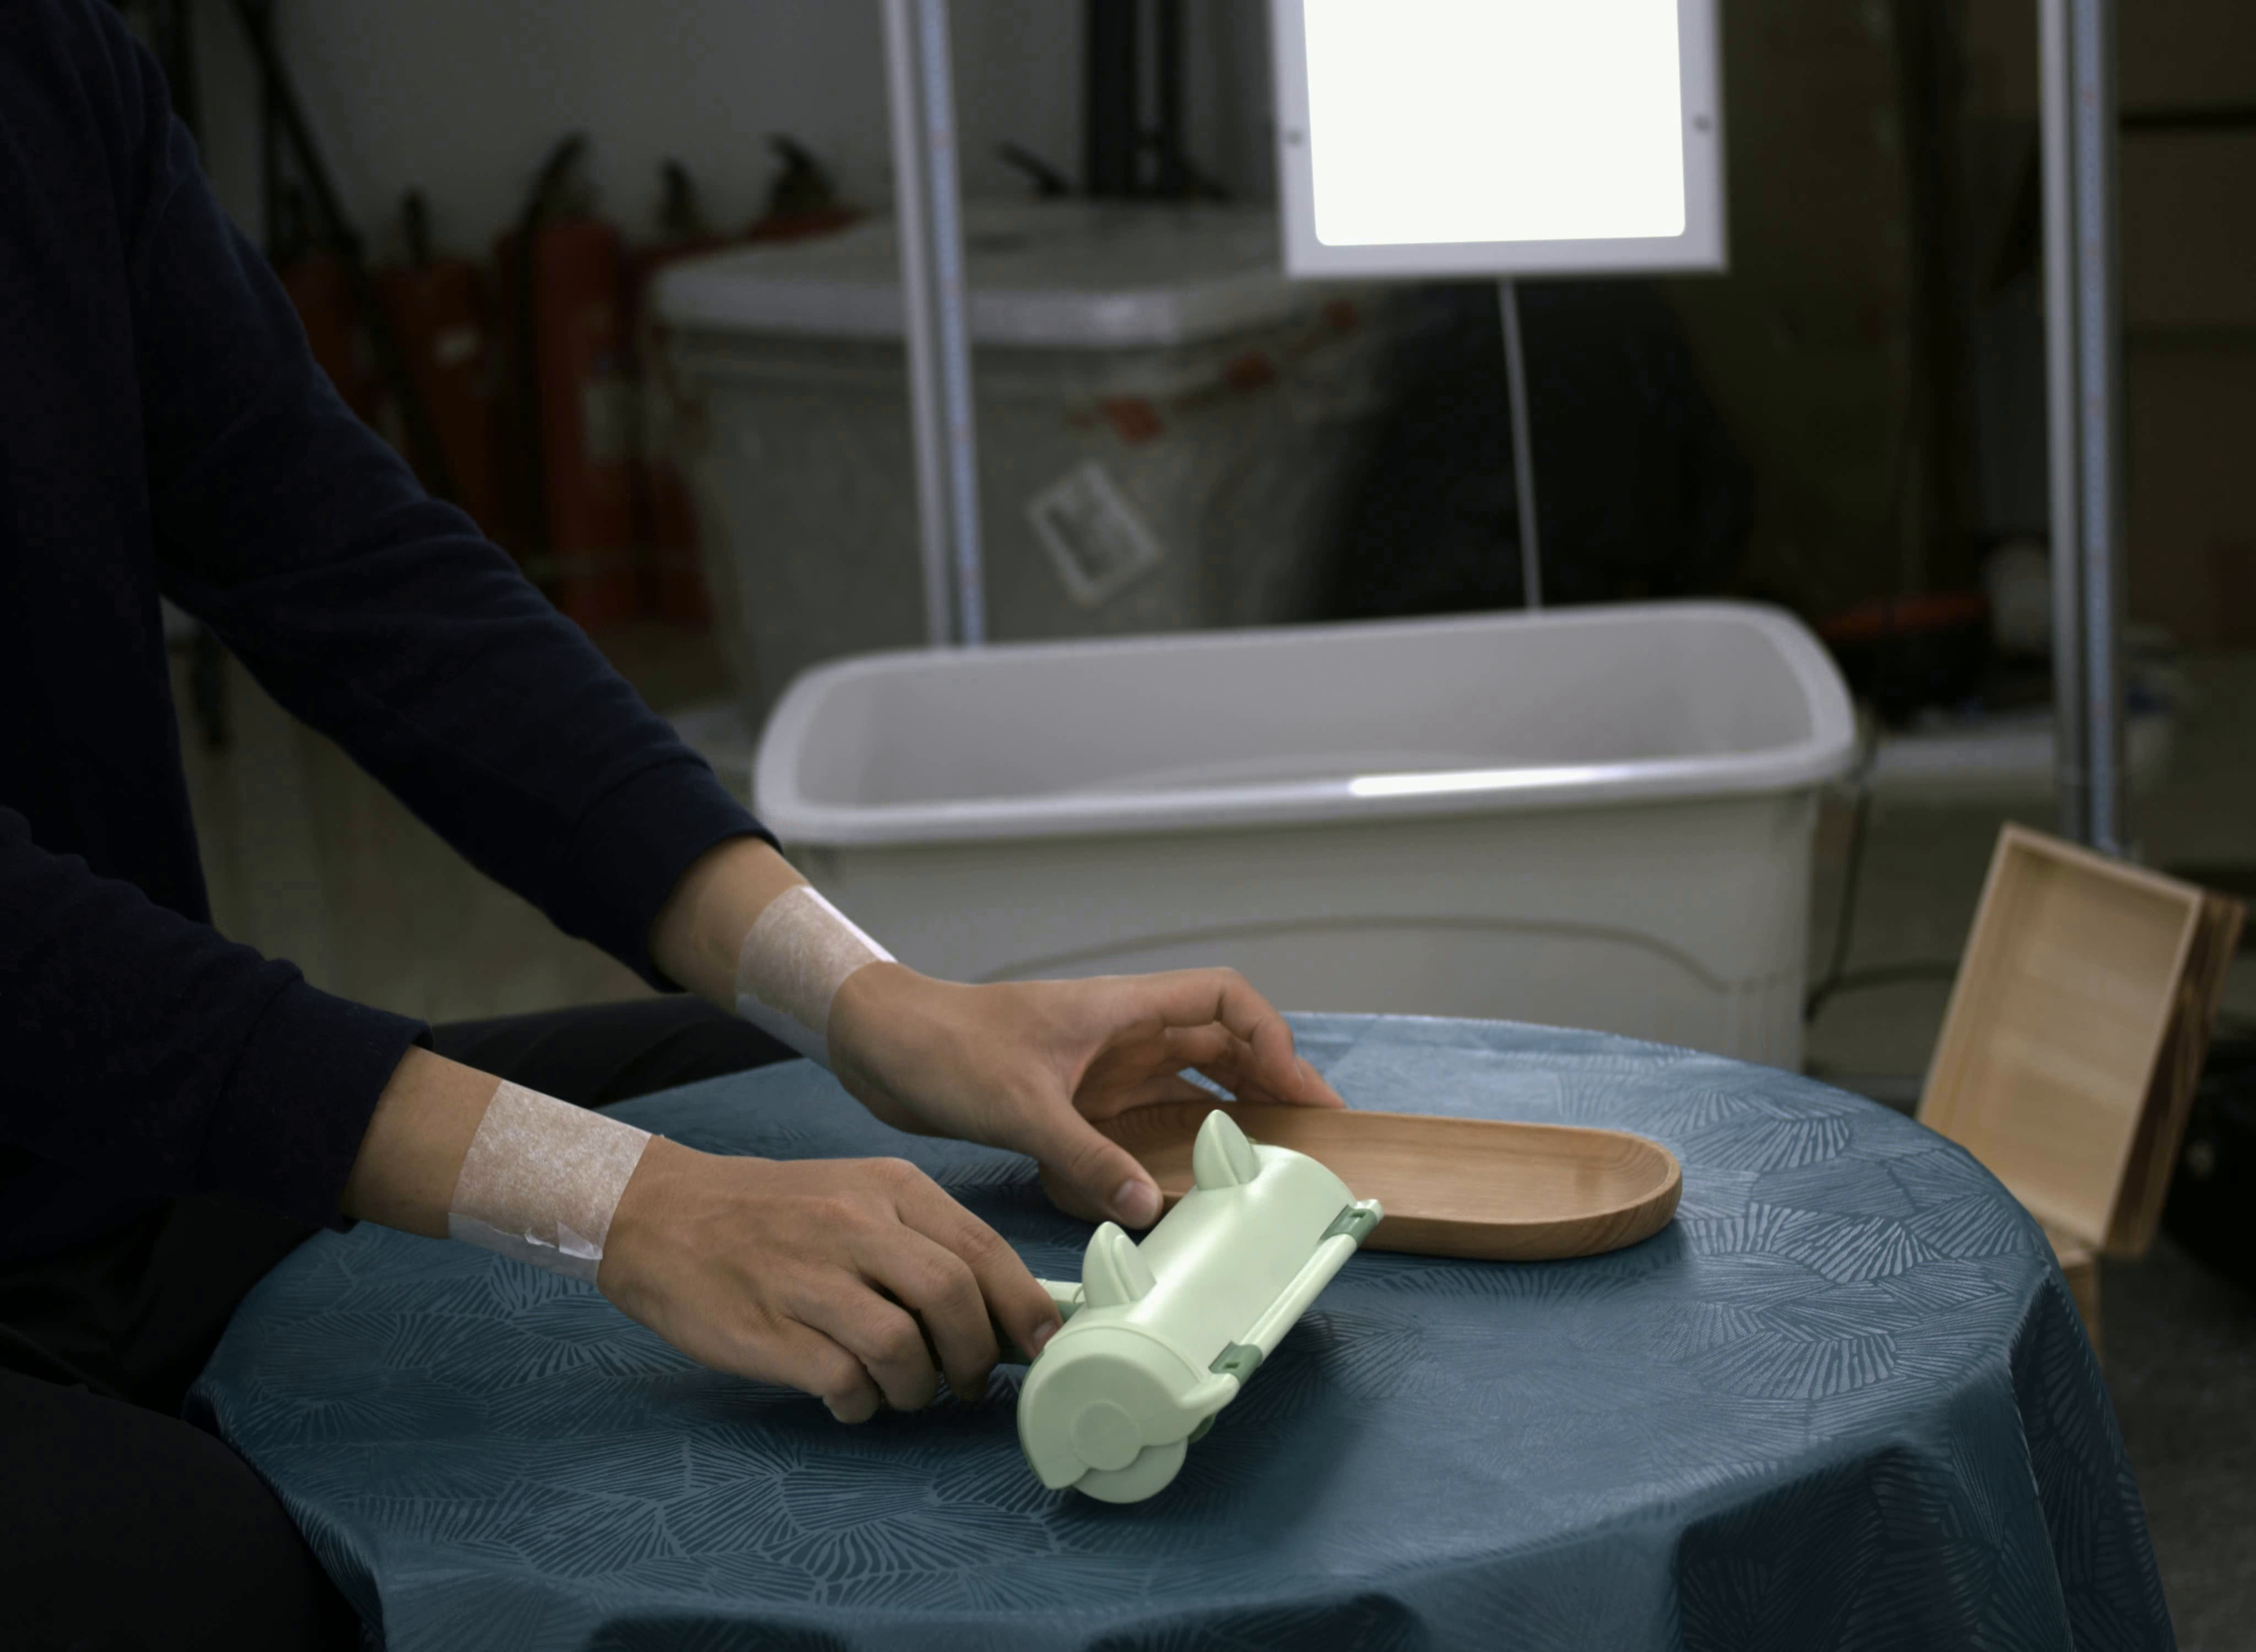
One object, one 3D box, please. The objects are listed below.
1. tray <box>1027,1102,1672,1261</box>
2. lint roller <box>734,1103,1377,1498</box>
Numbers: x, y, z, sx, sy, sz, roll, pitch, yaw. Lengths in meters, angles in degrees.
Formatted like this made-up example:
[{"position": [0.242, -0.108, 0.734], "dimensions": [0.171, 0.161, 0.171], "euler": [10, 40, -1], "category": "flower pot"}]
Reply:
[{"position": [0.074, 0.120, 1.862], "dimensions": [0.235, 0.020, 0.099], "euler": [1, 15, 30], "category": "tray"}, {"position": [-0.033, 0.133, 1.687], "dimensions": [0.185, 0.082, 0.195], "euler": [8, 16, 16], "category": "lint roller"}]
